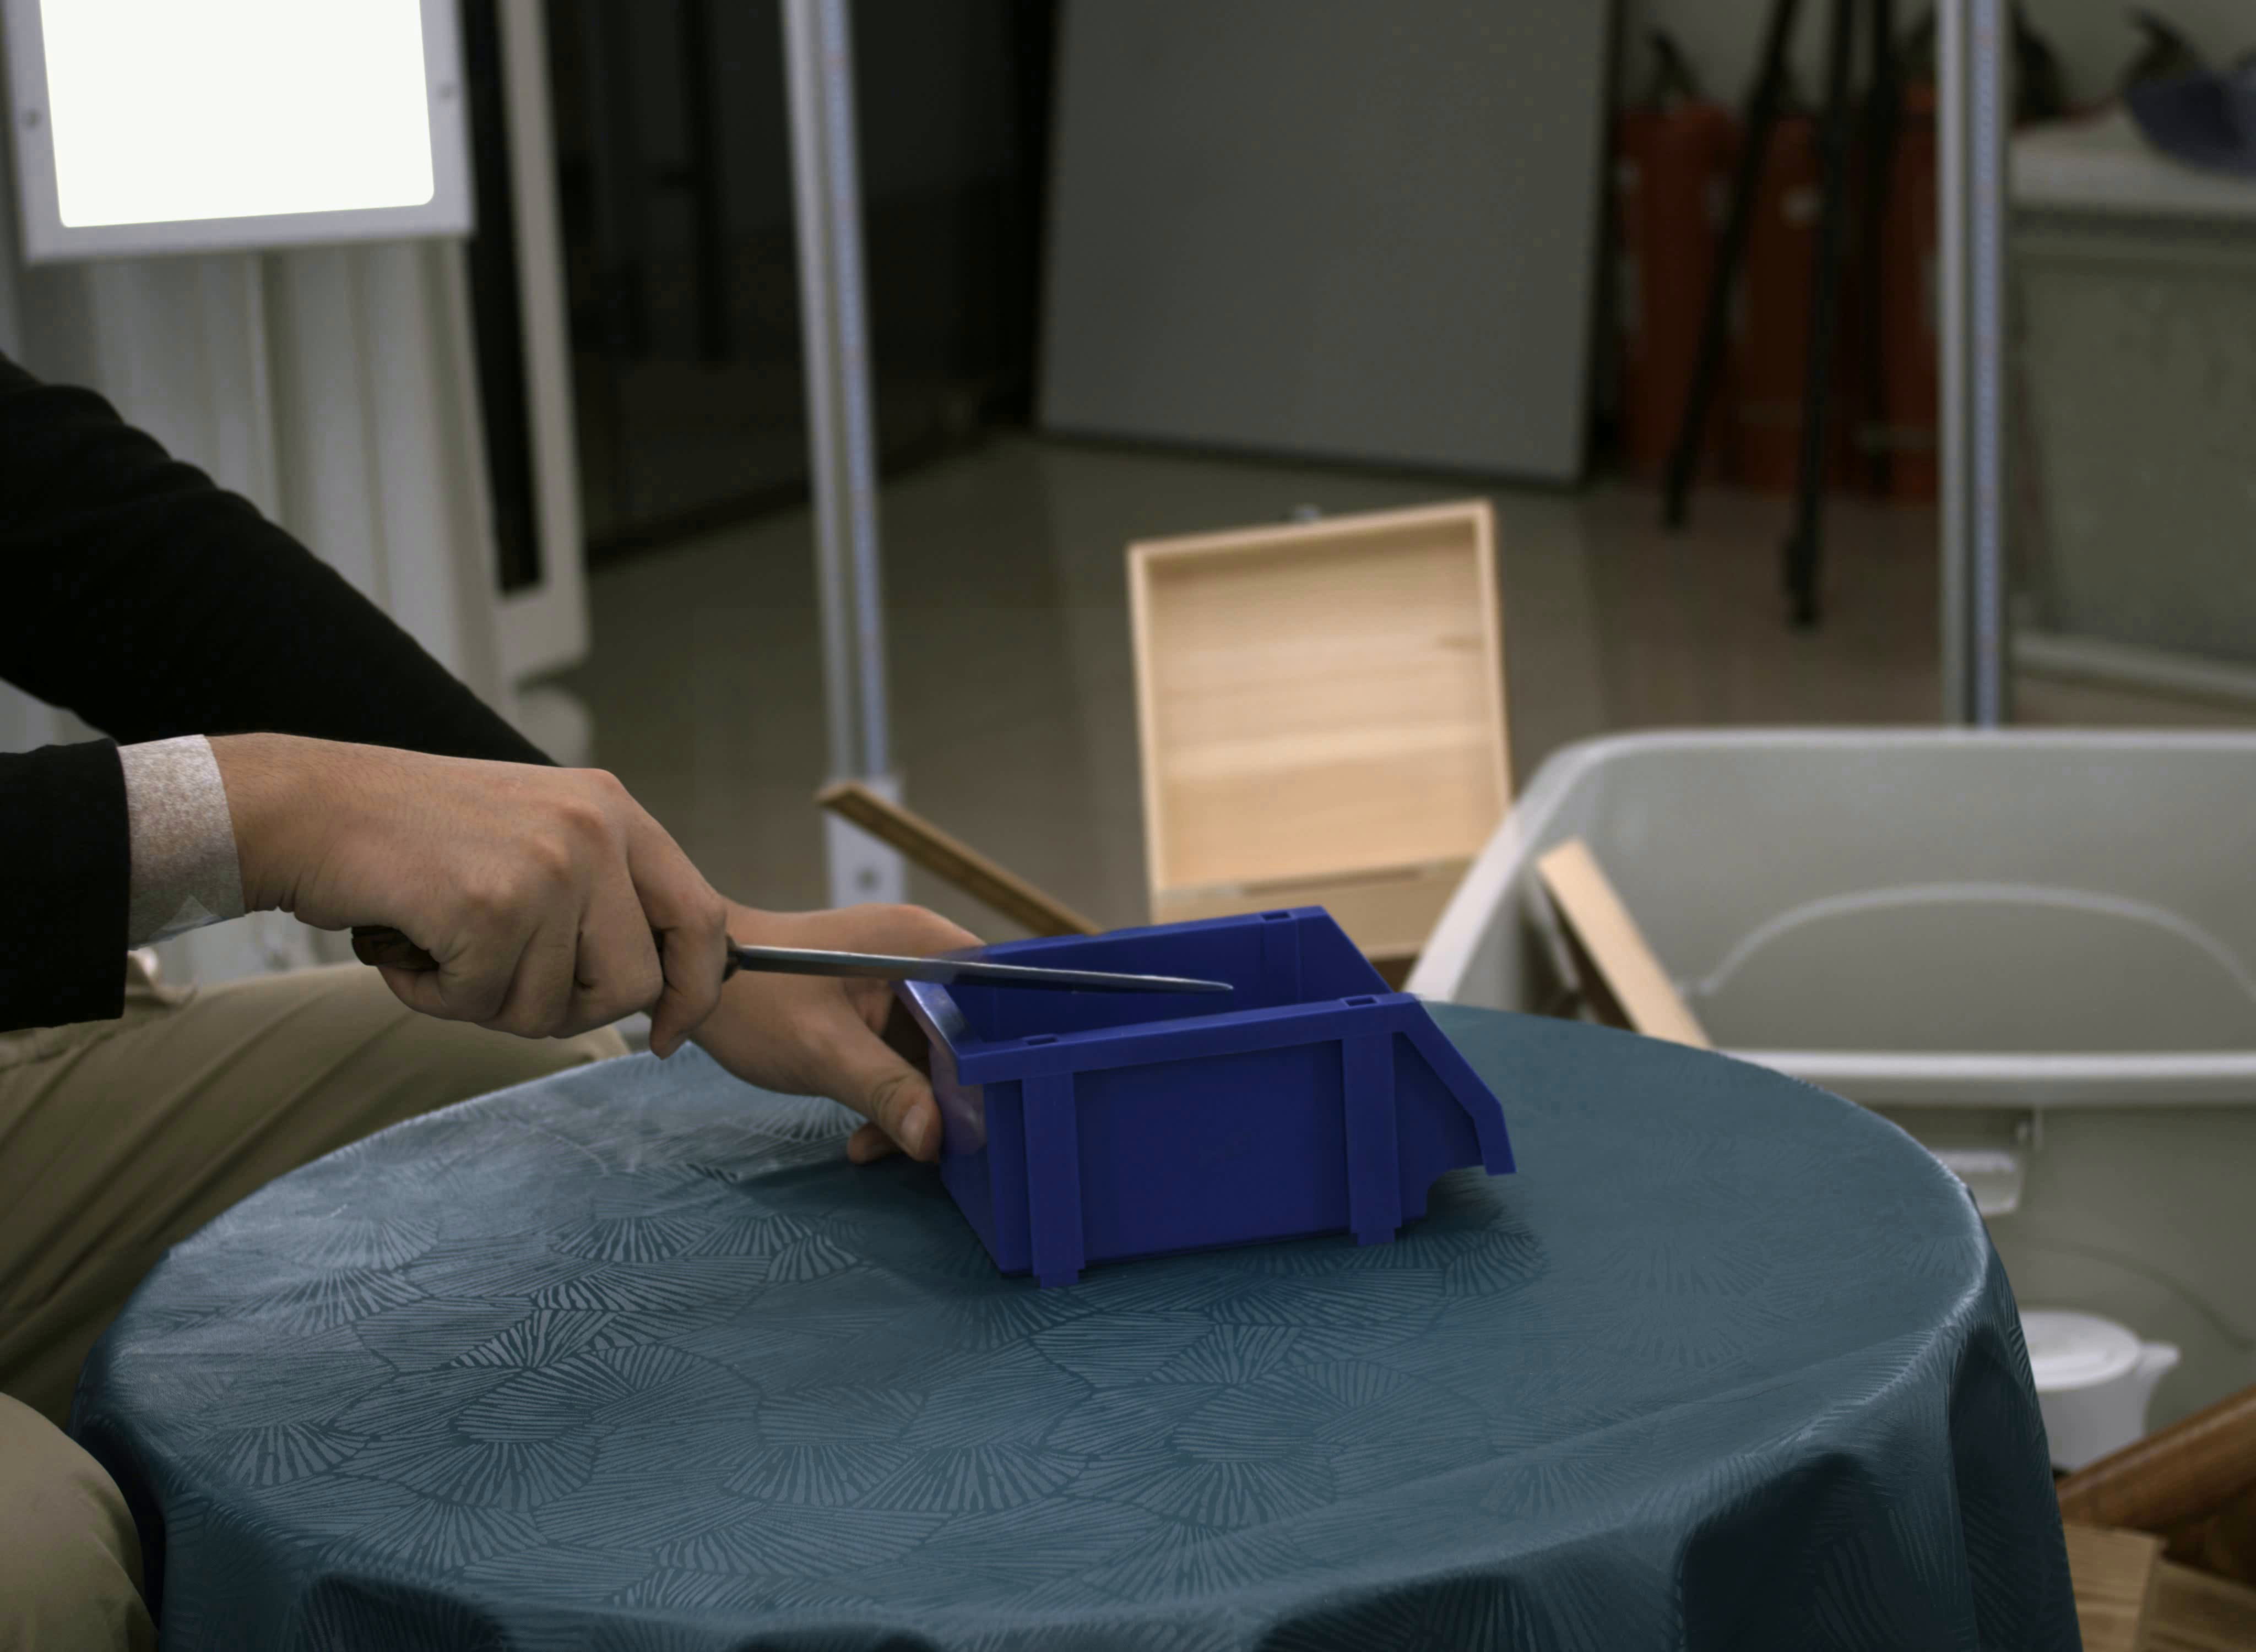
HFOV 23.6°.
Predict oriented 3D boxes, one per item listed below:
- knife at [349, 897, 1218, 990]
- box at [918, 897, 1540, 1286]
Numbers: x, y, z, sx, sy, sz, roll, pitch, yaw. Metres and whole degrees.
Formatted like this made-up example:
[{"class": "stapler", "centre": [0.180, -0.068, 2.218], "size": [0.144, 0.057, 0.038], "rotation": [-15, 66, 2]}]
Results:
[{"class": "knife", "centre": [-0.100, 0.041, 1.664], "size": [0.282, 0.020, 0.051], "rotation": [4, -10, -25]}, {"class": "box", "centre": [0.031, 0.082, 1.743], "size": [0.176, 0.083, 0.125], "rotation": [-9, 14, -8]}]
